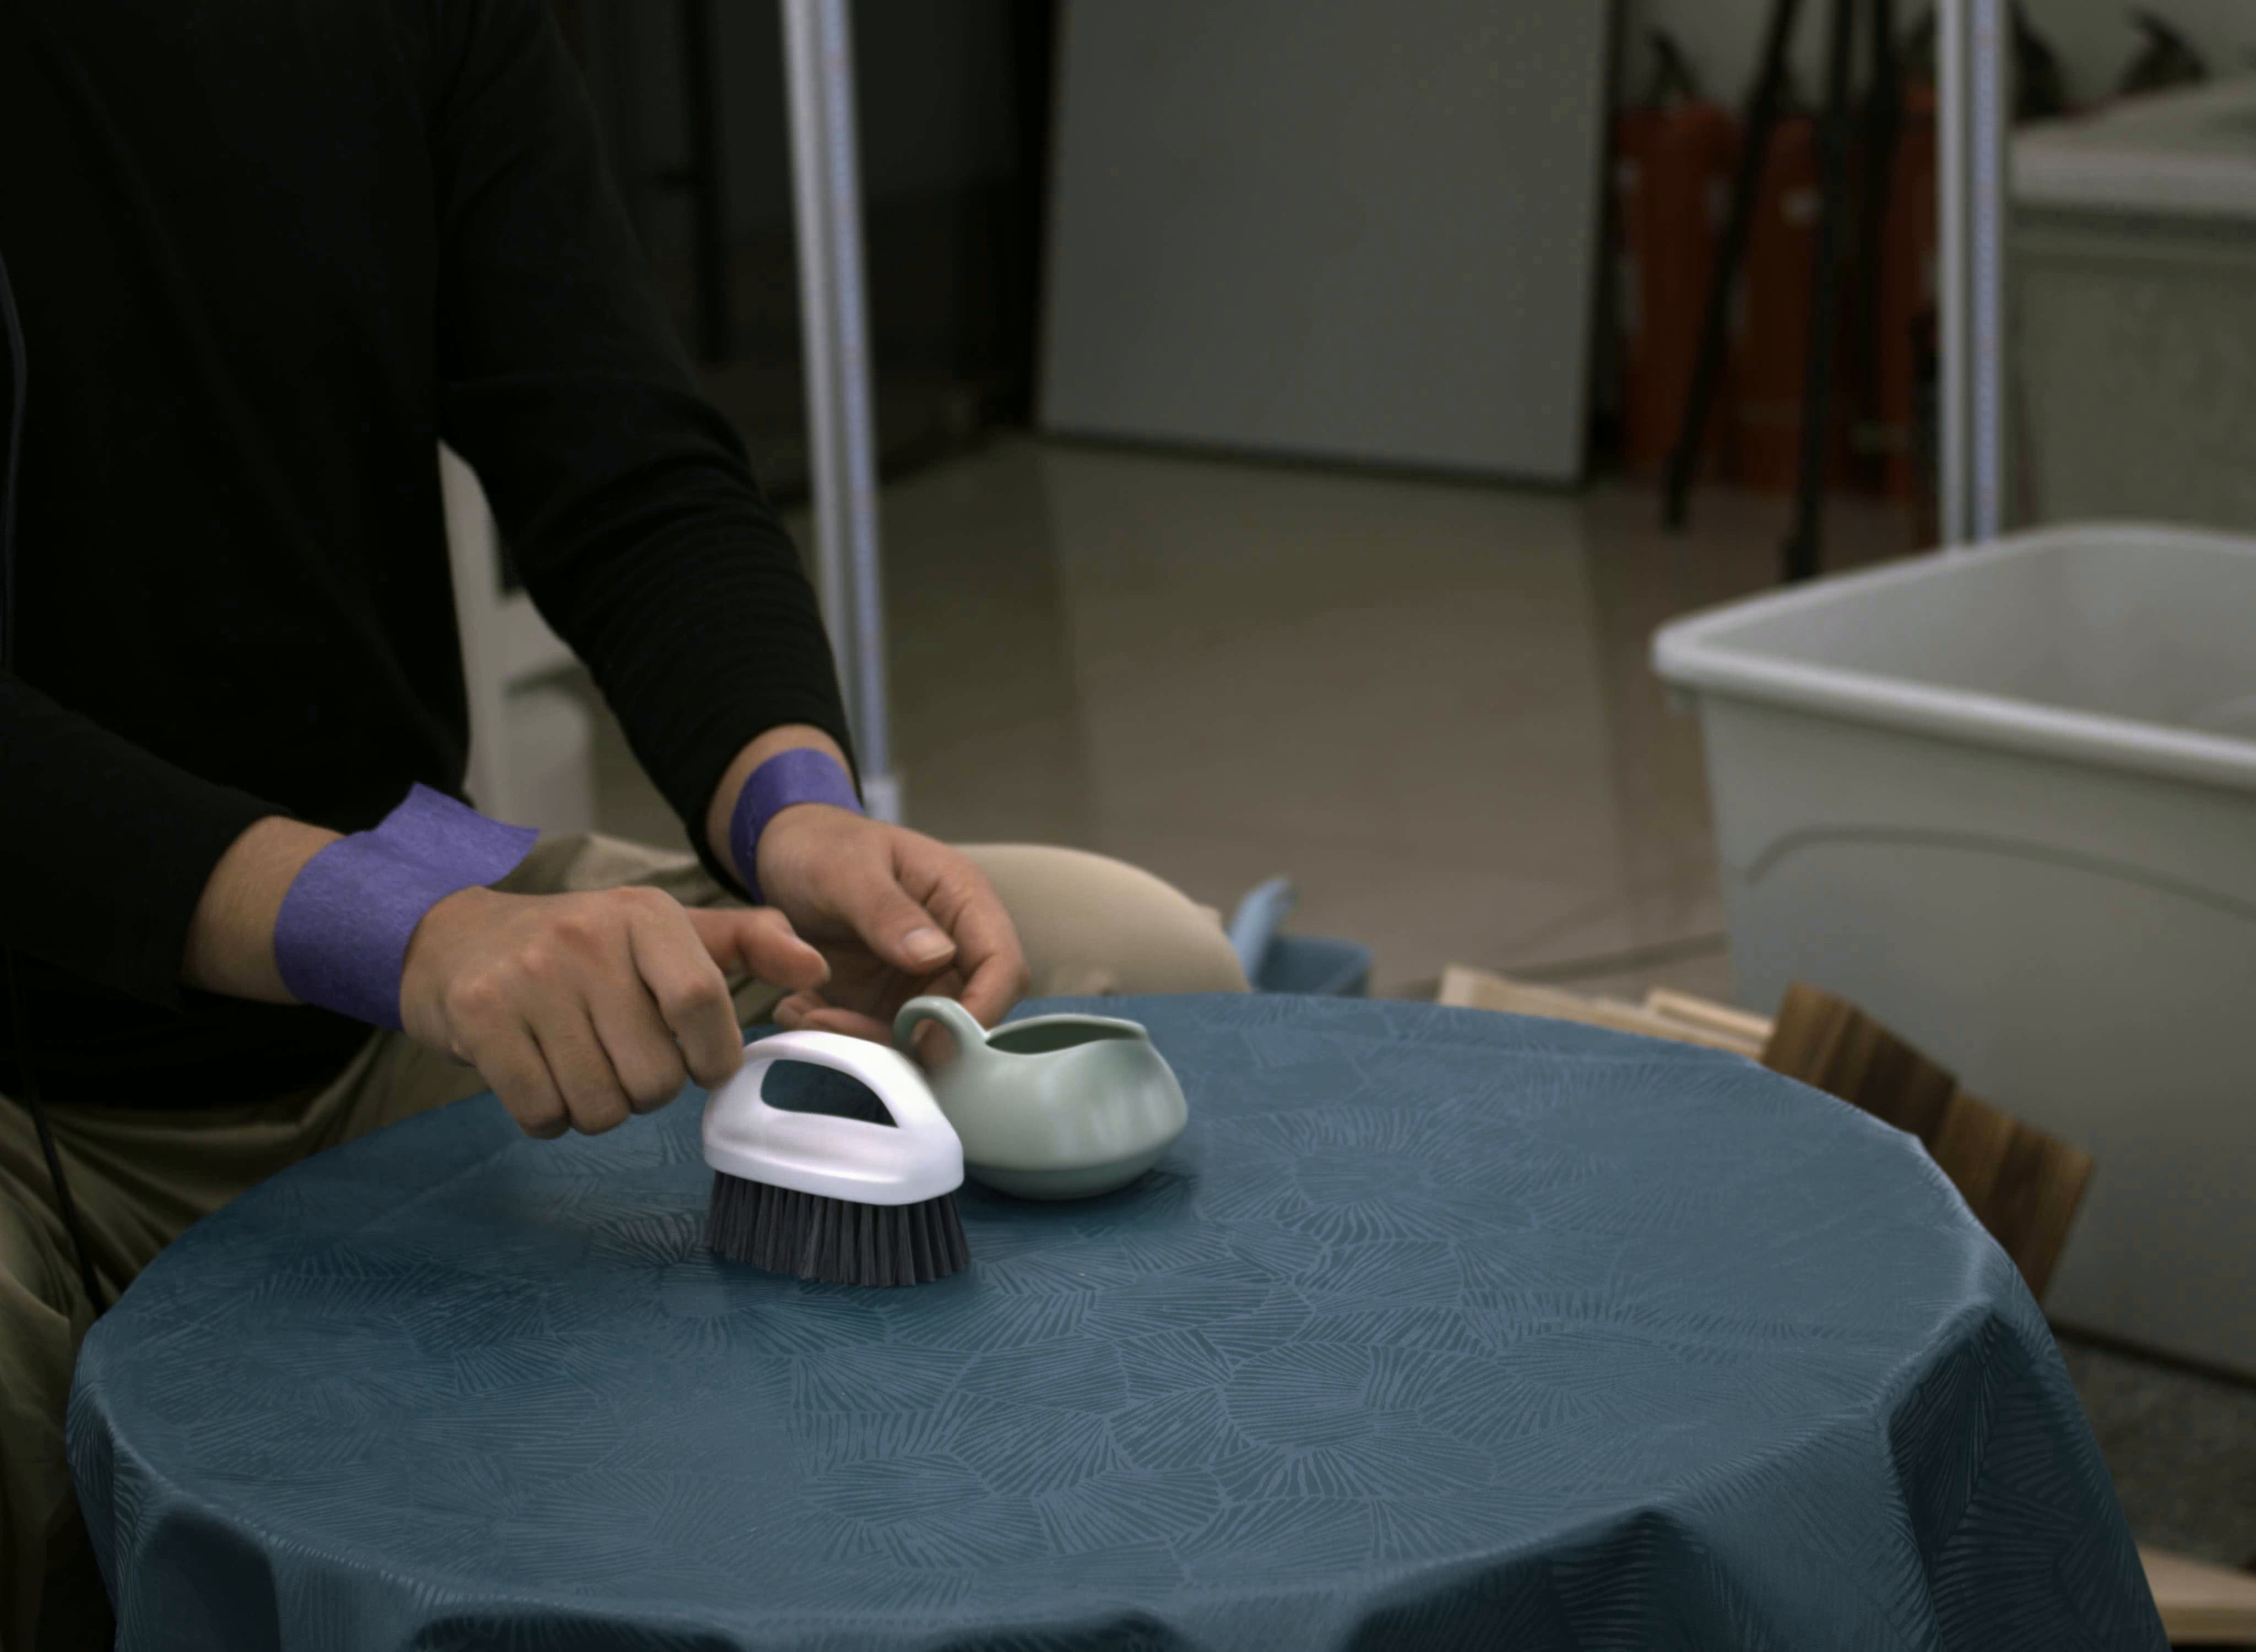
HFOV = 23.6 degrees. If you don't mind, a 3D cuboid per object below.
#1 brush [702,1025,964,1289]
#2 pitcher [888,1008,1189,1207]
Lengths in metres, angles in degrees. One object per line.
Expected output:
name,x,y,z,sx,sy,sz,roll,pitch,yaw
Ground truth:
brush,-0.095,0.101,1.719,0.100,0.073,0.049,11,18,43
pitcher,-0.033,0.091,1.784,0.108,0.061,0.085,0,13,29
